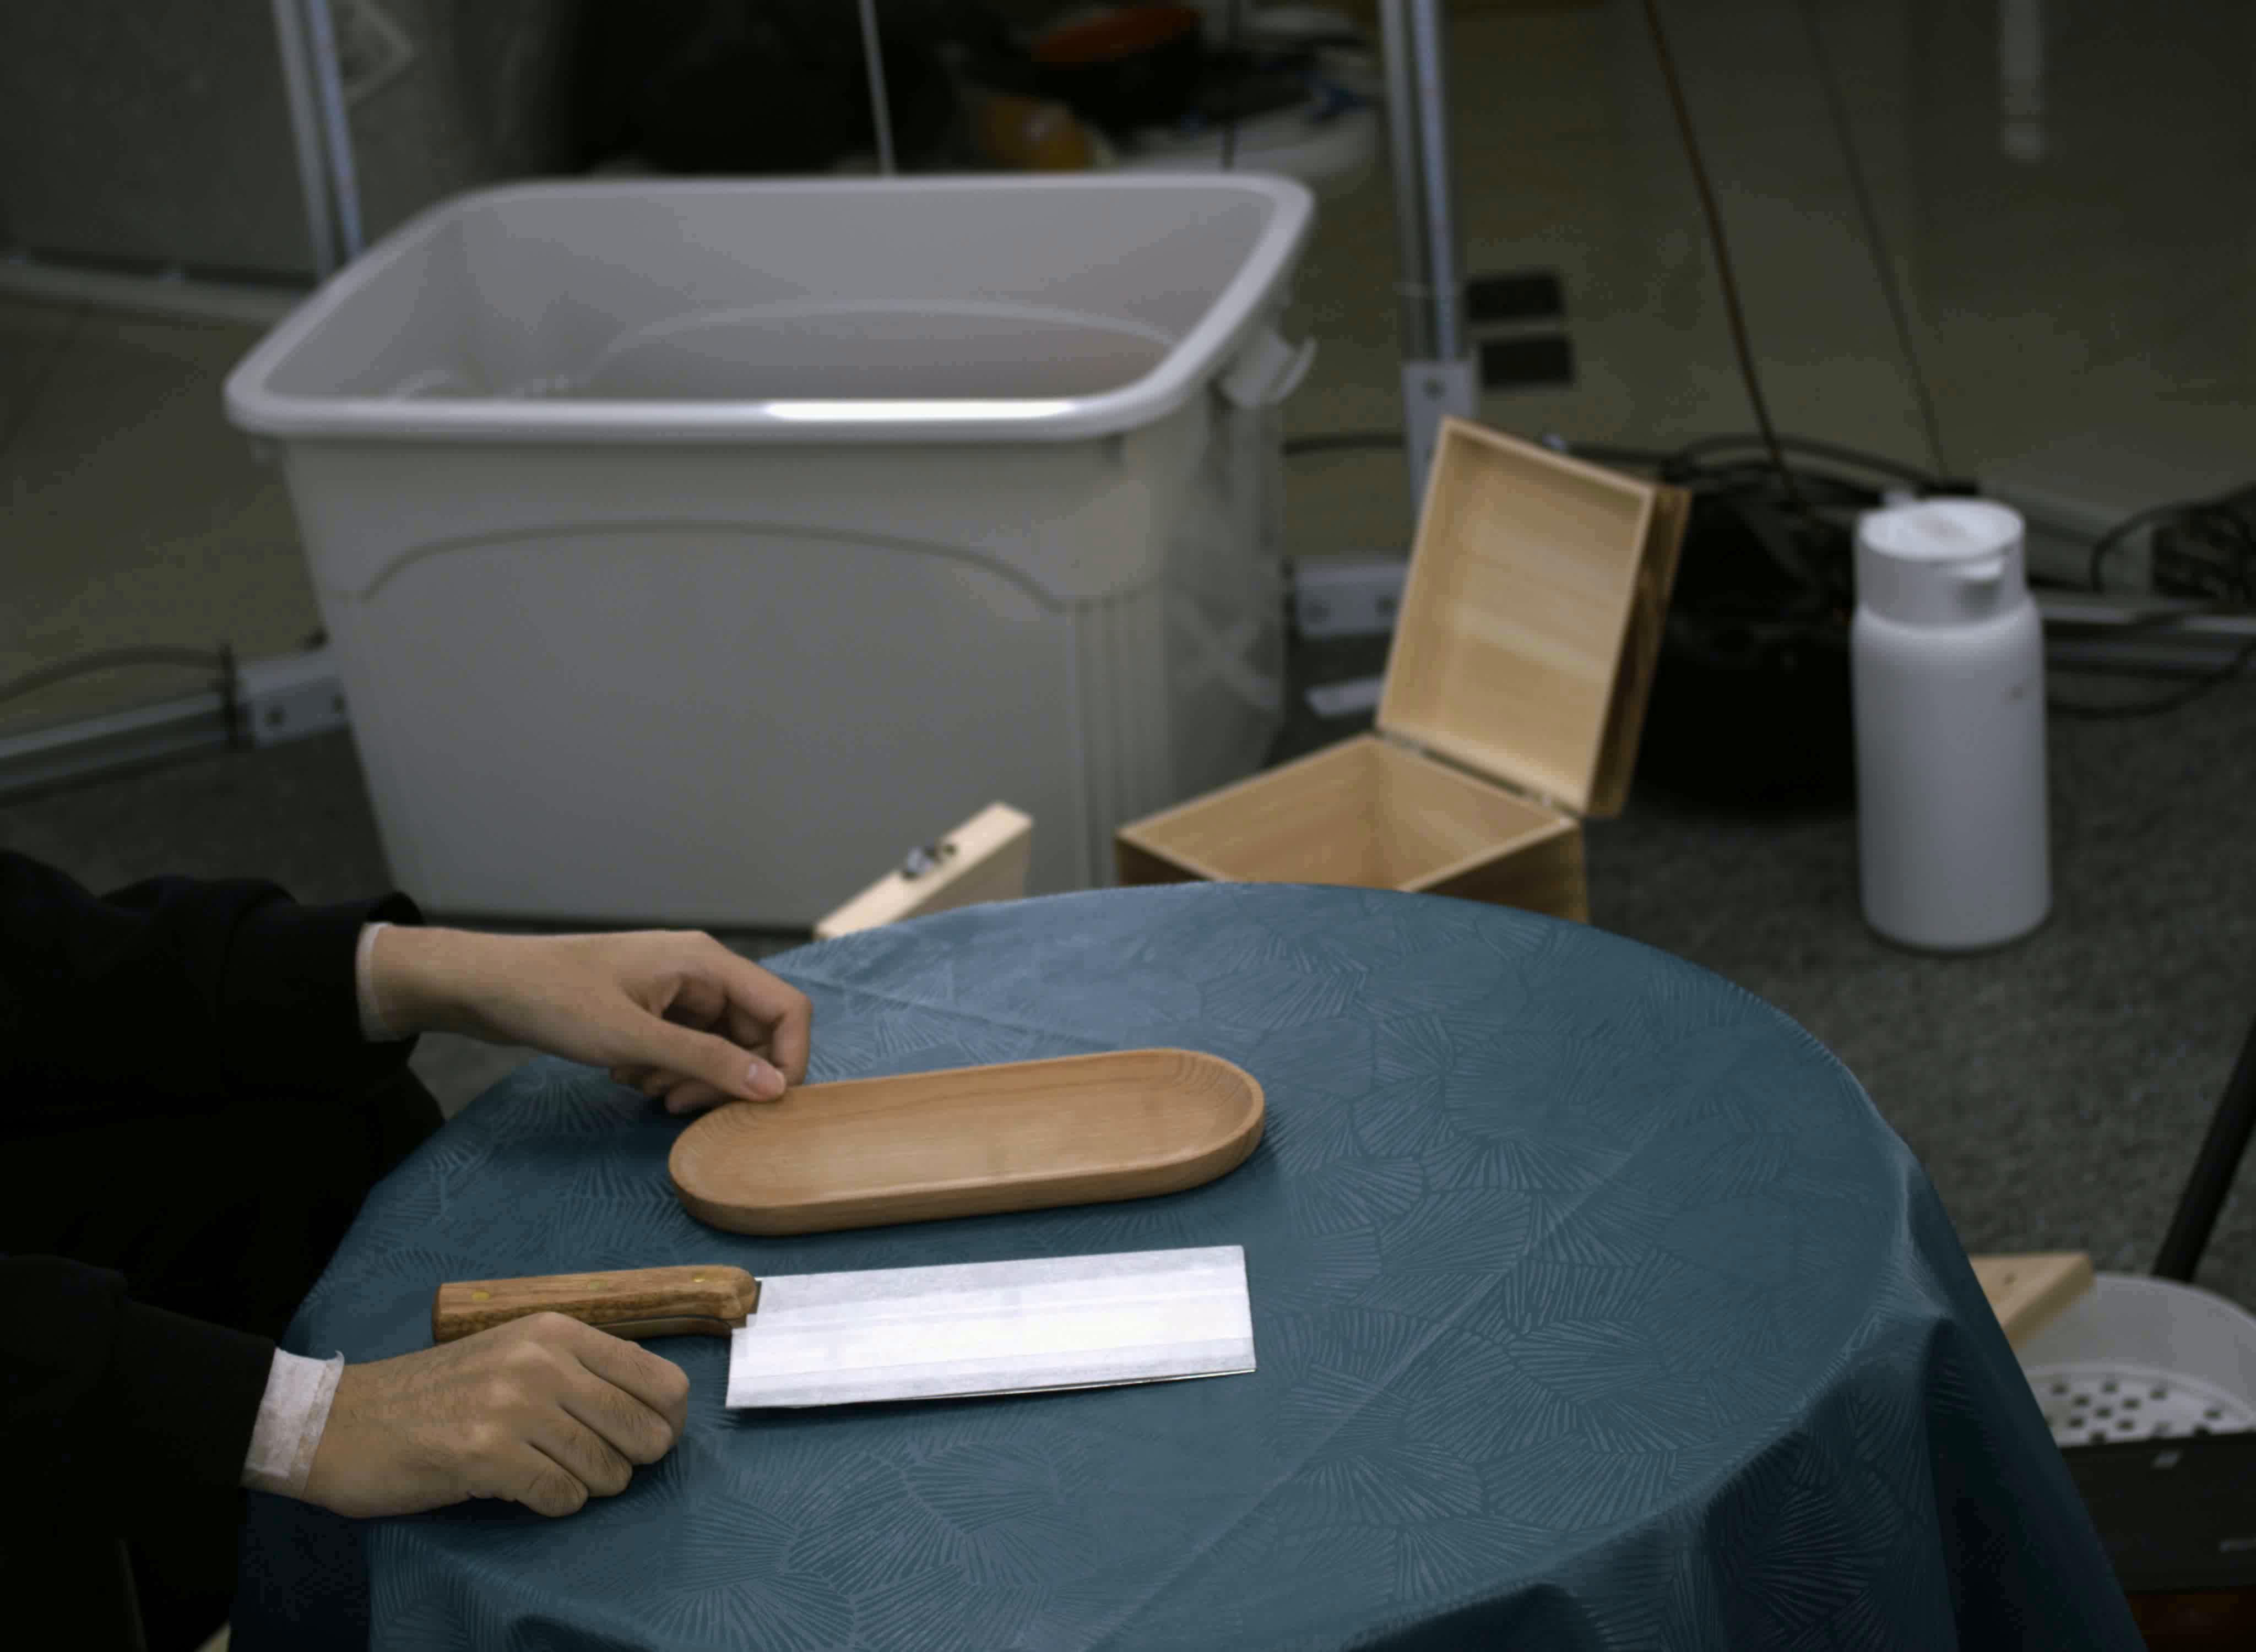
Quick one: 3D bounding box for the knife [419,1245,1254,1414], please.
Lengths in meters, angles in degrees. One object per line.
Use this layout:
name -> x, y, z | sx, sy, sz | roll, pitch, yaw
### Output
knife -> -0.107, 0.184, 2.058 | 0.305, 0.021, 0.091 | -4, 27, 0

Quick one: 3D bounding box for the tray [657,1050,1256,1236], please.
tray -> -0.065, 0.122, 2.178 | 0.231, 0.020, 0.100 | -7, 24, 2
